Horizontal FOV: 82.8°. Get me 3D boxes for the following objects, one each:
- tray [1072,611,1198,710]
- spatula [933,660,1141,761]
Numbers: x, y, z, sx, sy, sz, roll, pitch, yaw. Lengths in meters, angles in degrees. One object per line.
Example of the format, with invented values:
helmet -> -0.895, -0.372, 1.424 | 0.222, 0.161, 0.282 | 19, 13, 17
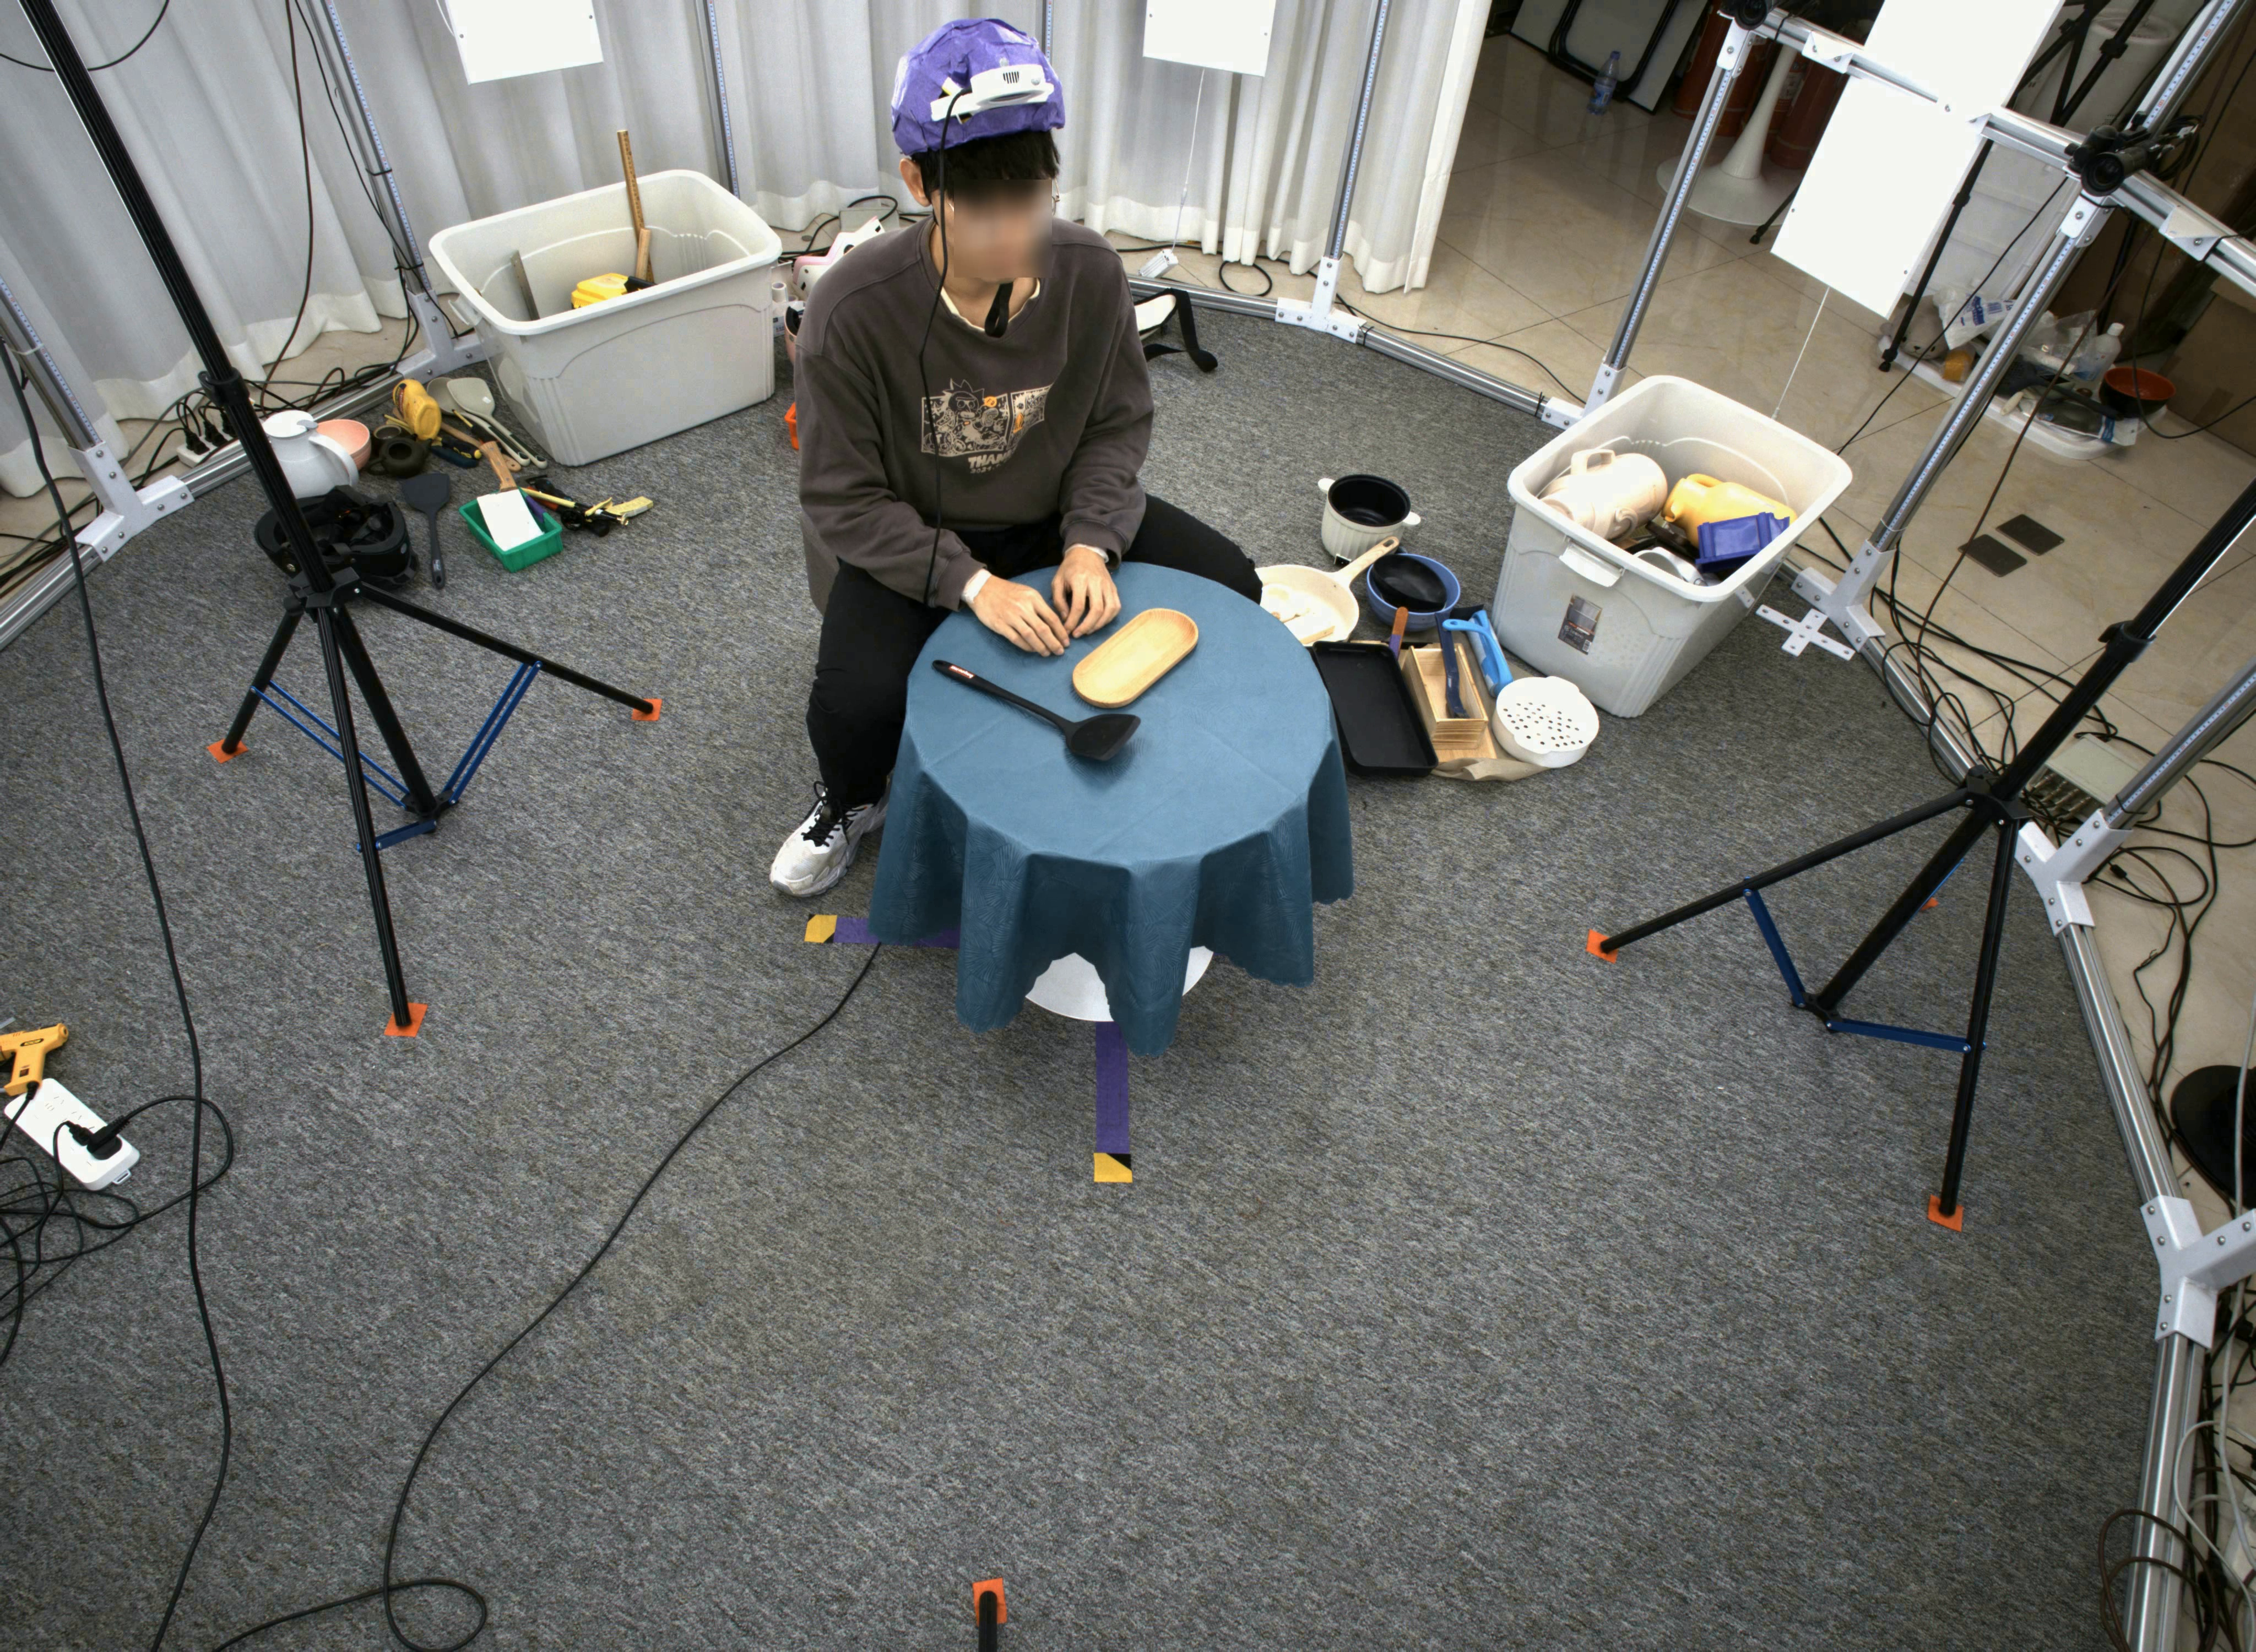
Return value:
tray -> 0.012, -0.243, 1.868 | 0.103, 0.020, 0.234 | 32, 56, 23
spatula -> -0.139, -0.173, 1.784 | 0.329, 0.039, 0.101 | 27, 52, 19
